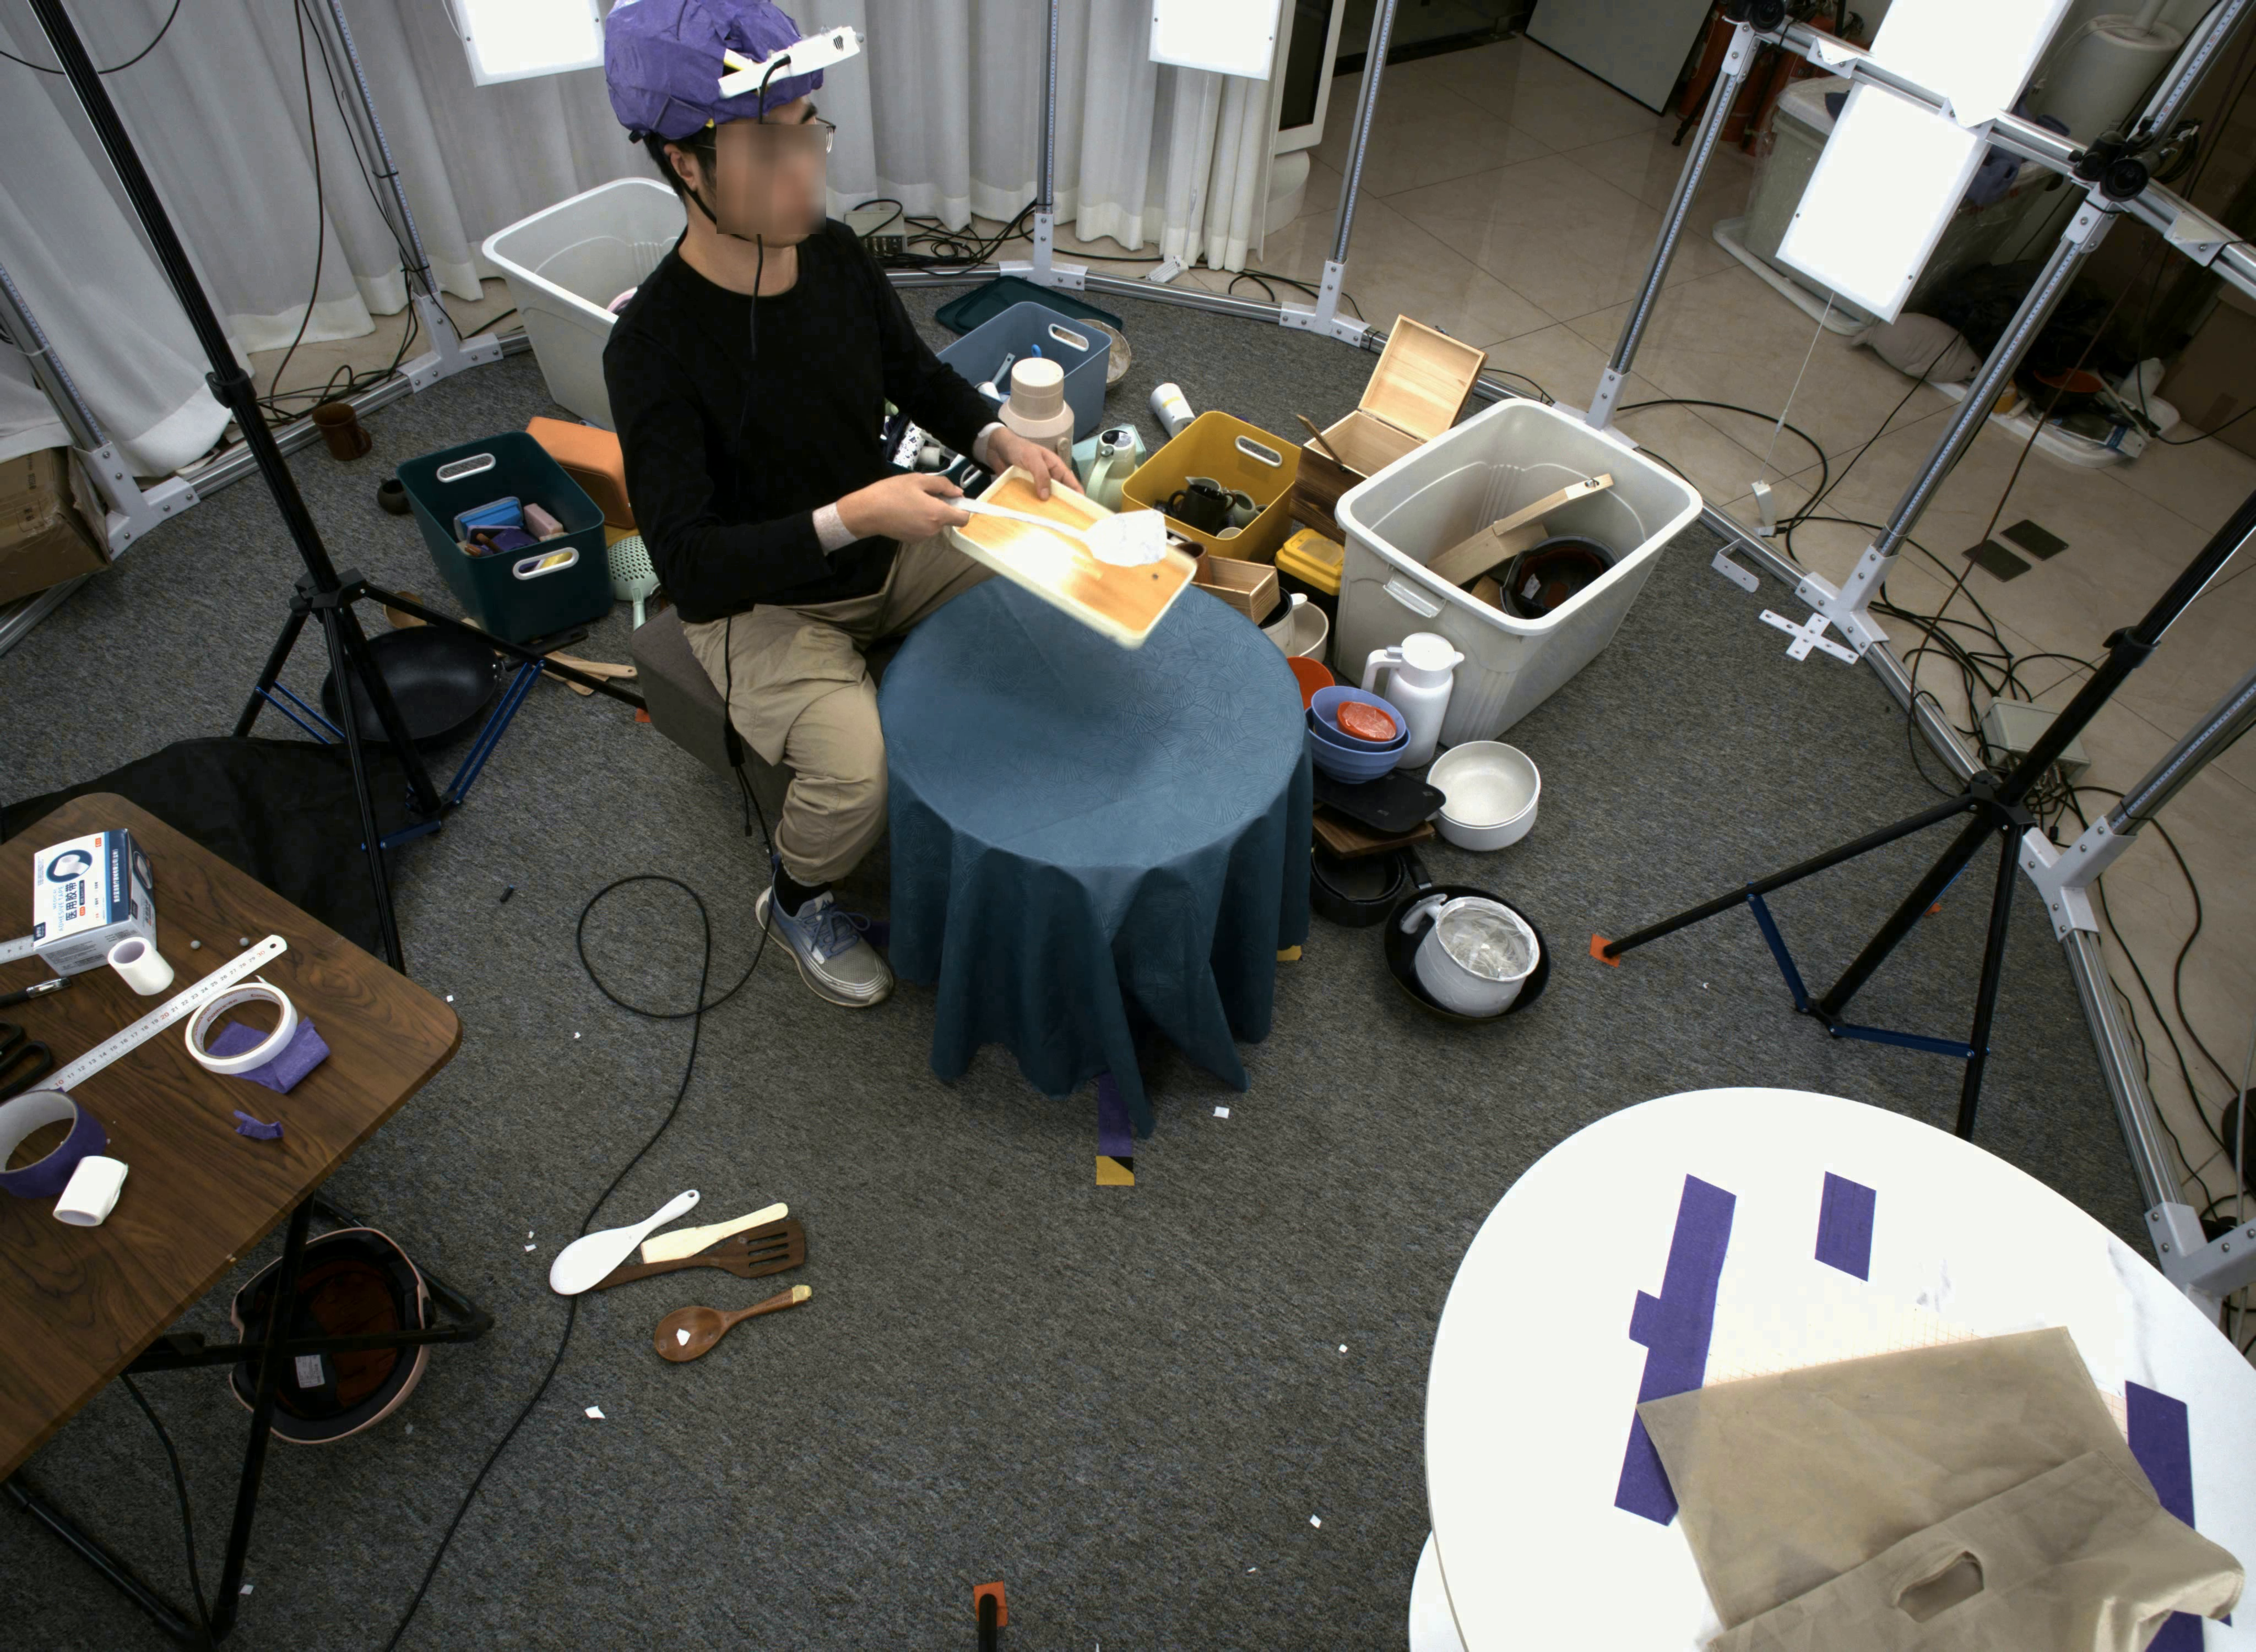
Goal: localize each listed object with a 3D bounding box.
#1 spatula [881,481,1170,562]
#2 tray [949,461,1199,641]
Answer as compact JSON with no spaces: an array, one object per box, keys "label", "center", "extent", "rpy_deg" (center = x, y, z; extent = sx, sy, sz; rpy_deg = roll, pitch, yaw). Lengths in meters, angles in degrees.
[{"label":"spatula","center":[-0.126,-0.396,1.628],"extent":[0.363,0.044,0.101],"rpy_deg":[10,56,-13]},{"label":"tray","center":[-0.070,-0.374,1.733],"extent":[0.302,0.027,0.195],"rpy_deg":[30,50,9]}]
